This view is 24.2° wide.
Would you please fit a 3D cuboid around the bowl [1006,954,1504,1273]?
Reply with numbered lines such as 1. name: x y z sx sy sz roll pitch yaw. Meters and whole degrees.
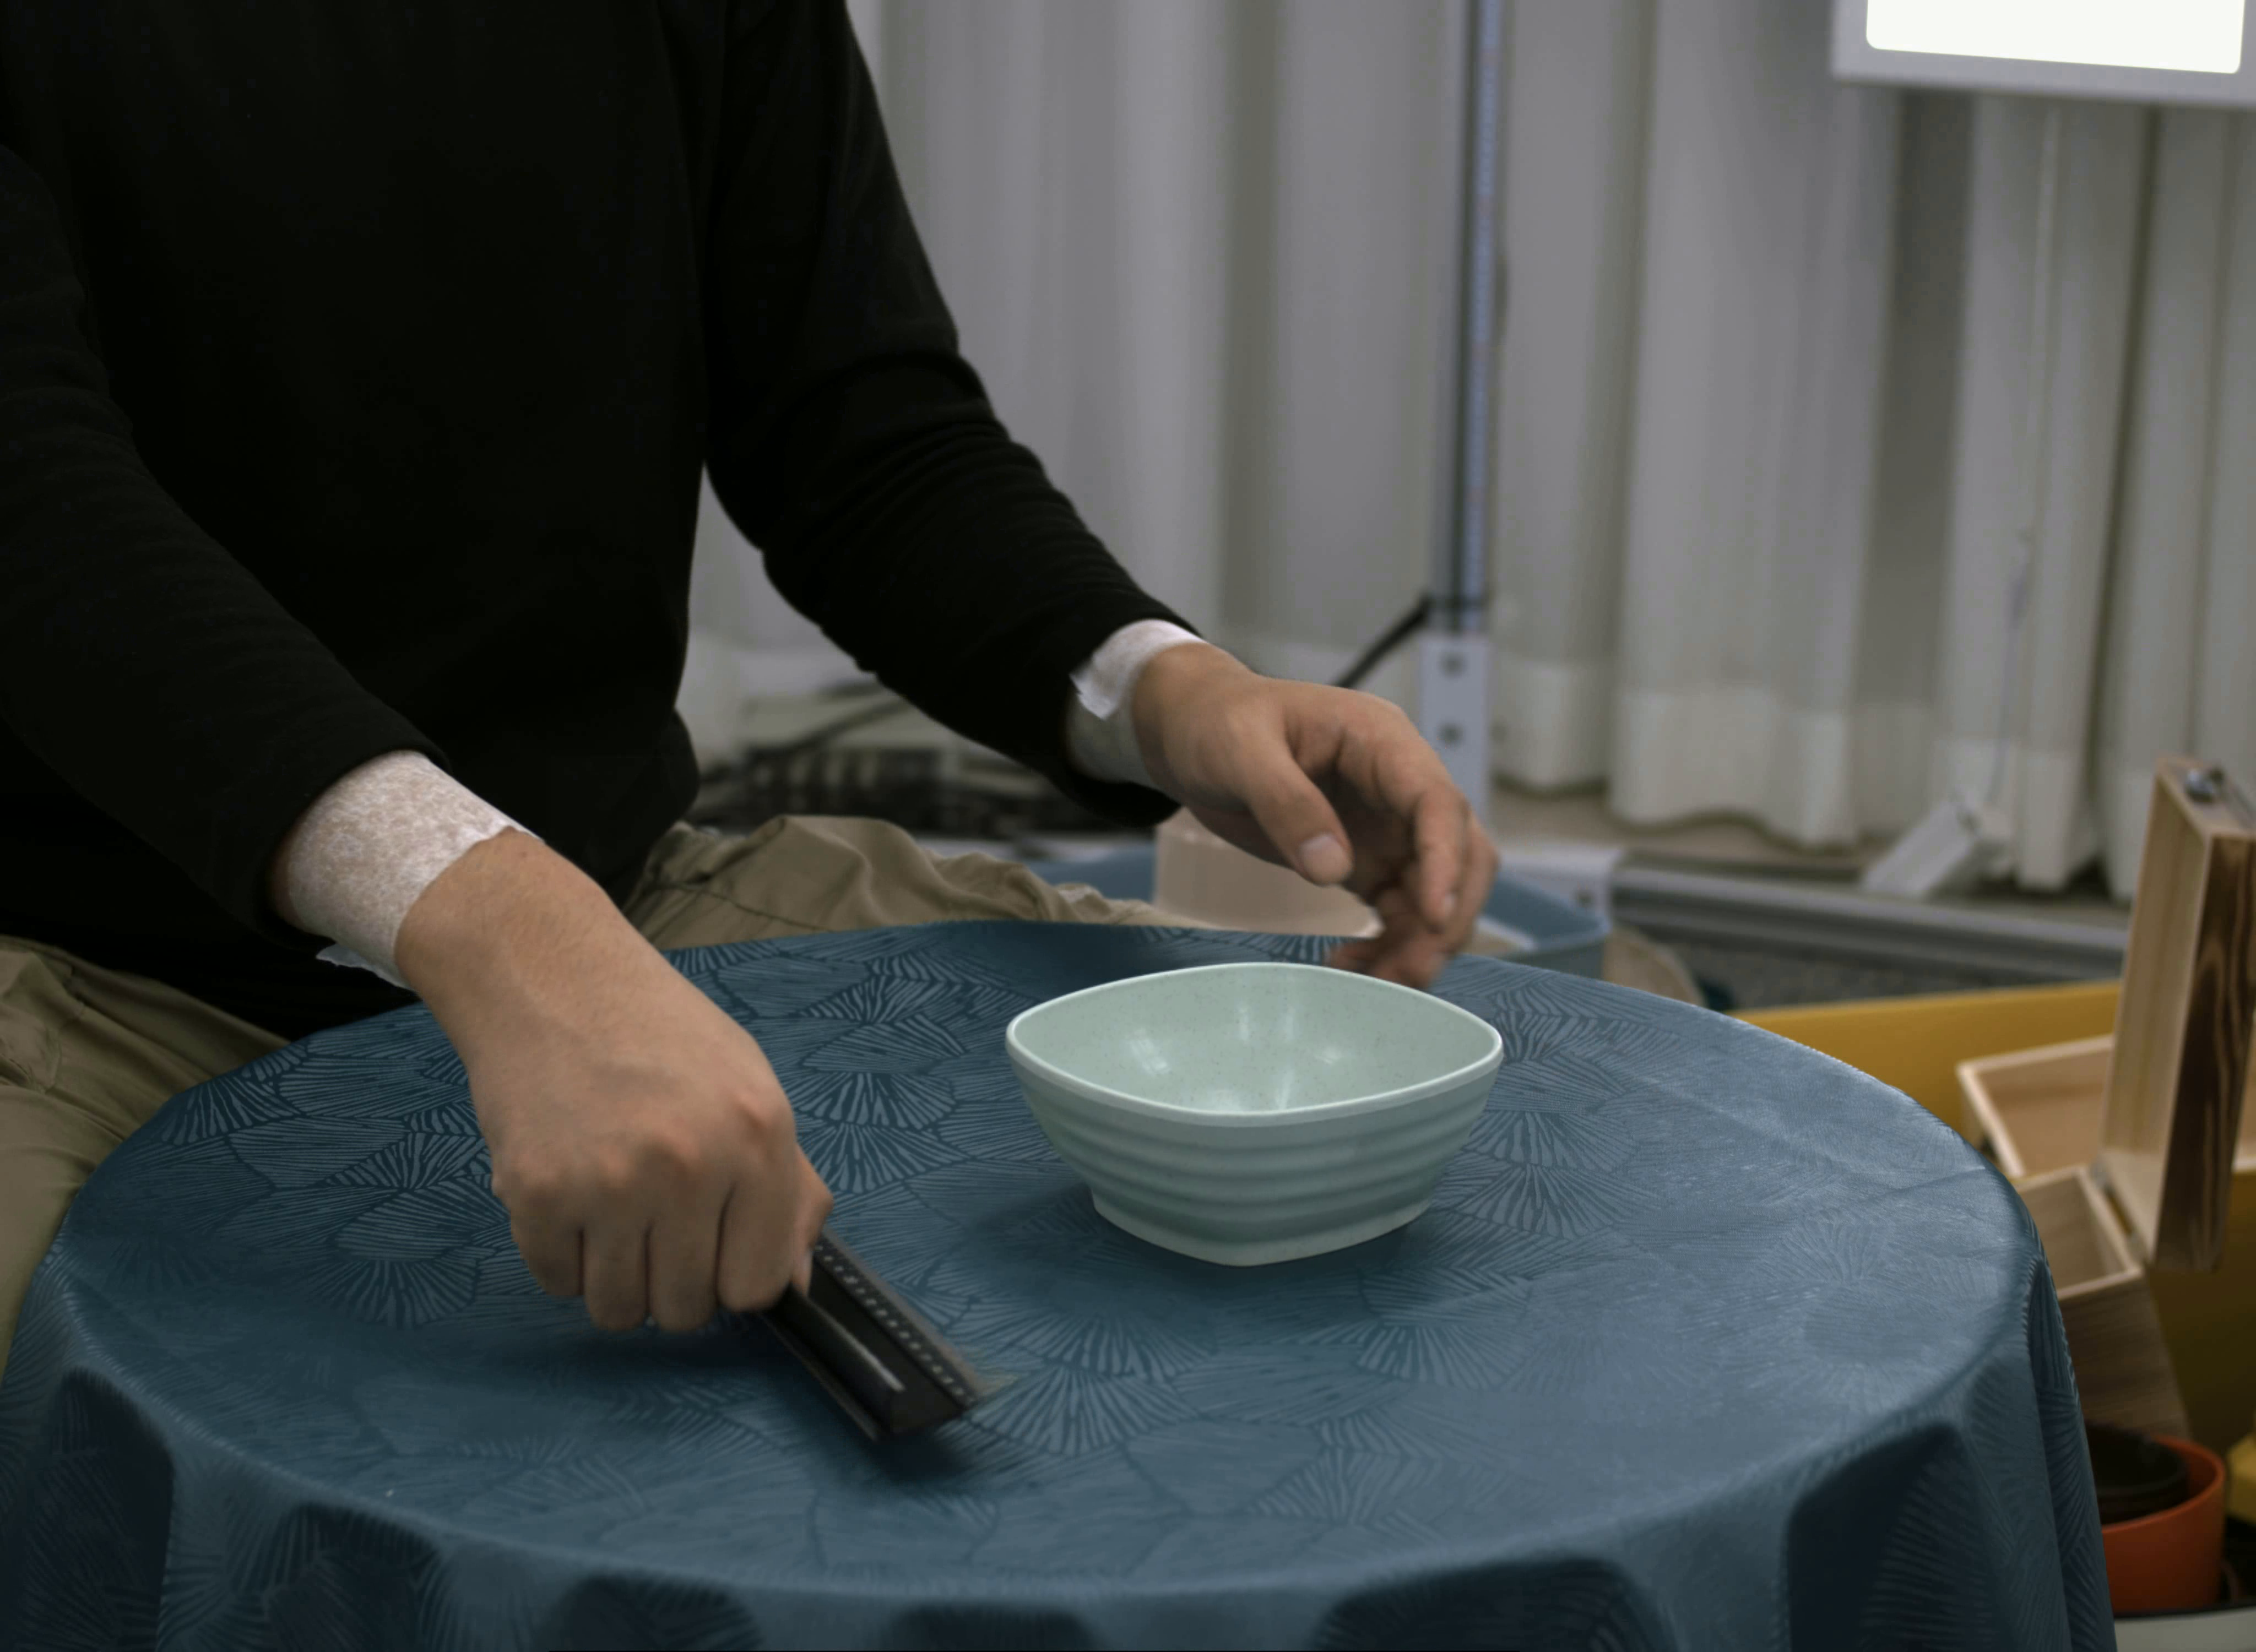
1. bowl: 0.038 0.090 1.596 0.151 0.059 0.150 1 18 0

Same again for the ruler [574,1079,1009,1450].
1. ruler: -0.103 0.118 1.529 0.039 0.017 0.309 -13 18 -19
